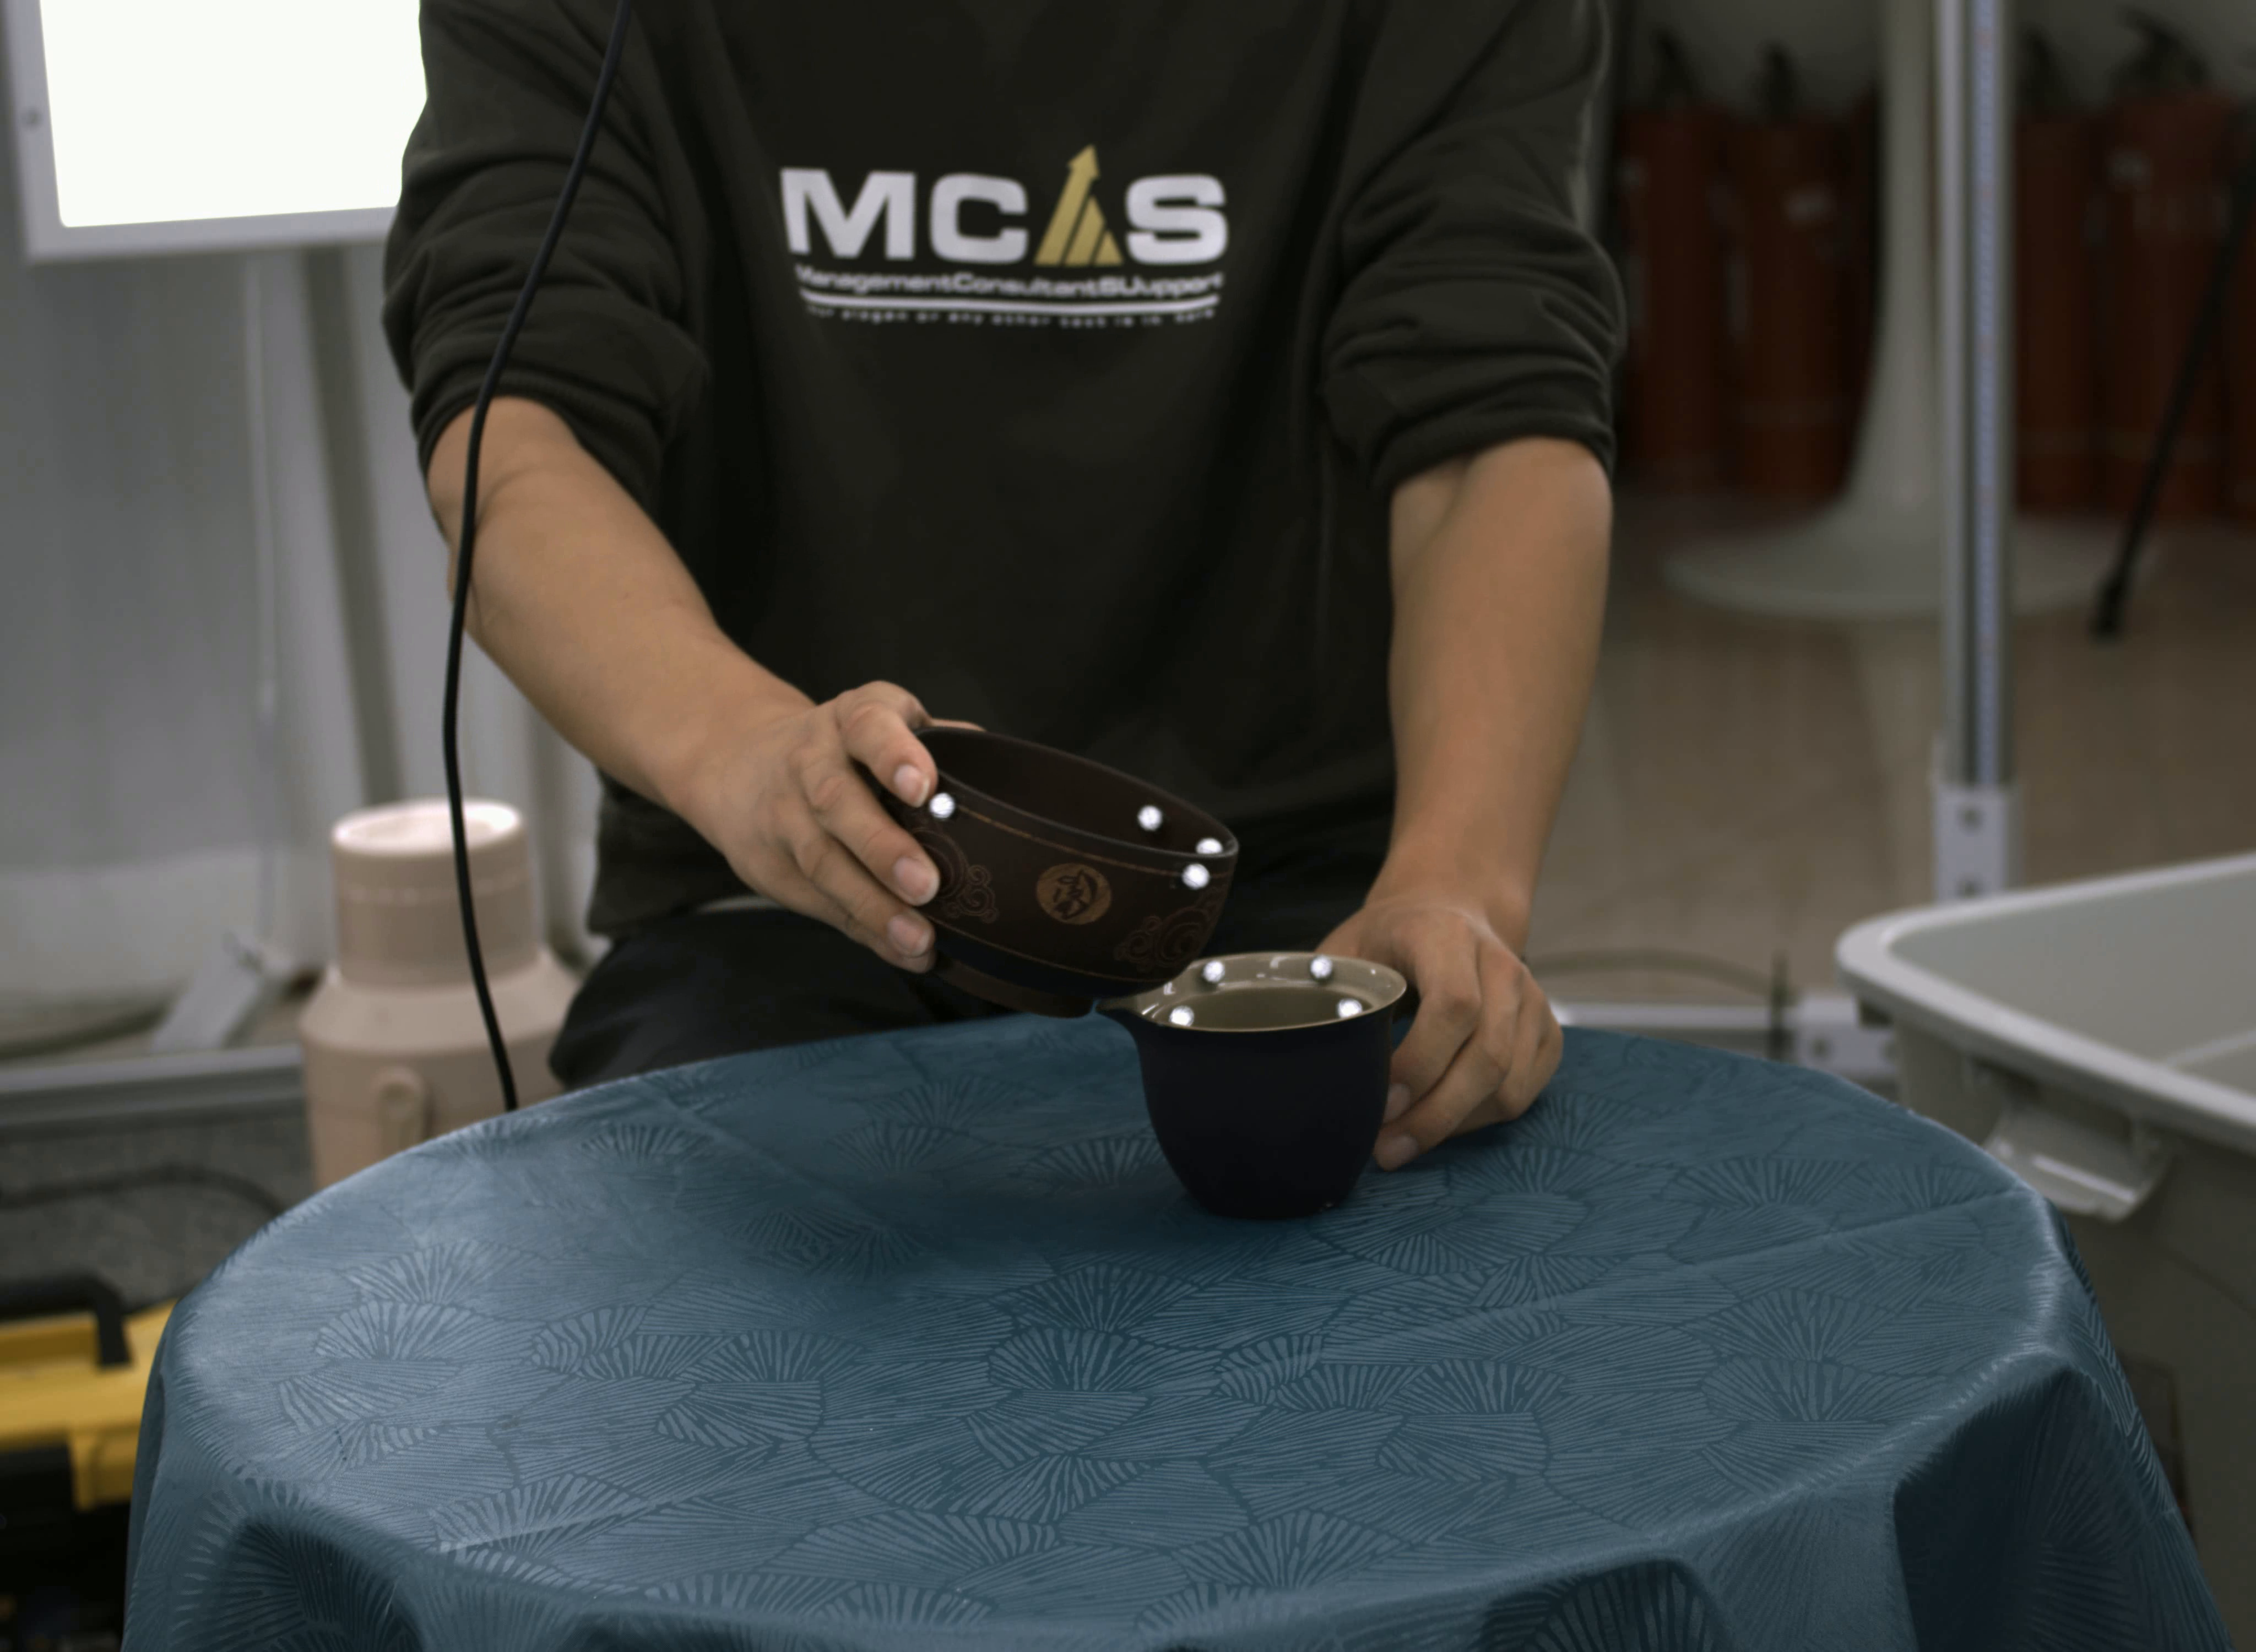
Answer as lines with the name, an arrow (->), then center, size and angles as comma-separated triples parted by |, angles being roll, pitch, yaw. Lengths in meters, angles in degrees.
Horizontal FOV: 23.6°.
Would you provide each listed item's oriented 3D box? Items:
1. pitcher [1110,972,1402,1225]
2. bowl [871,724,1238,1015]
pitcher -> 0.043, 0.088, 1.748 | 0.095, 0.072, 0.083 | -1, 14, 8
bowl -> -0.028, 0.019, 1.736 | 0.116, 0.070, 0.118 | 17, 9, -4
